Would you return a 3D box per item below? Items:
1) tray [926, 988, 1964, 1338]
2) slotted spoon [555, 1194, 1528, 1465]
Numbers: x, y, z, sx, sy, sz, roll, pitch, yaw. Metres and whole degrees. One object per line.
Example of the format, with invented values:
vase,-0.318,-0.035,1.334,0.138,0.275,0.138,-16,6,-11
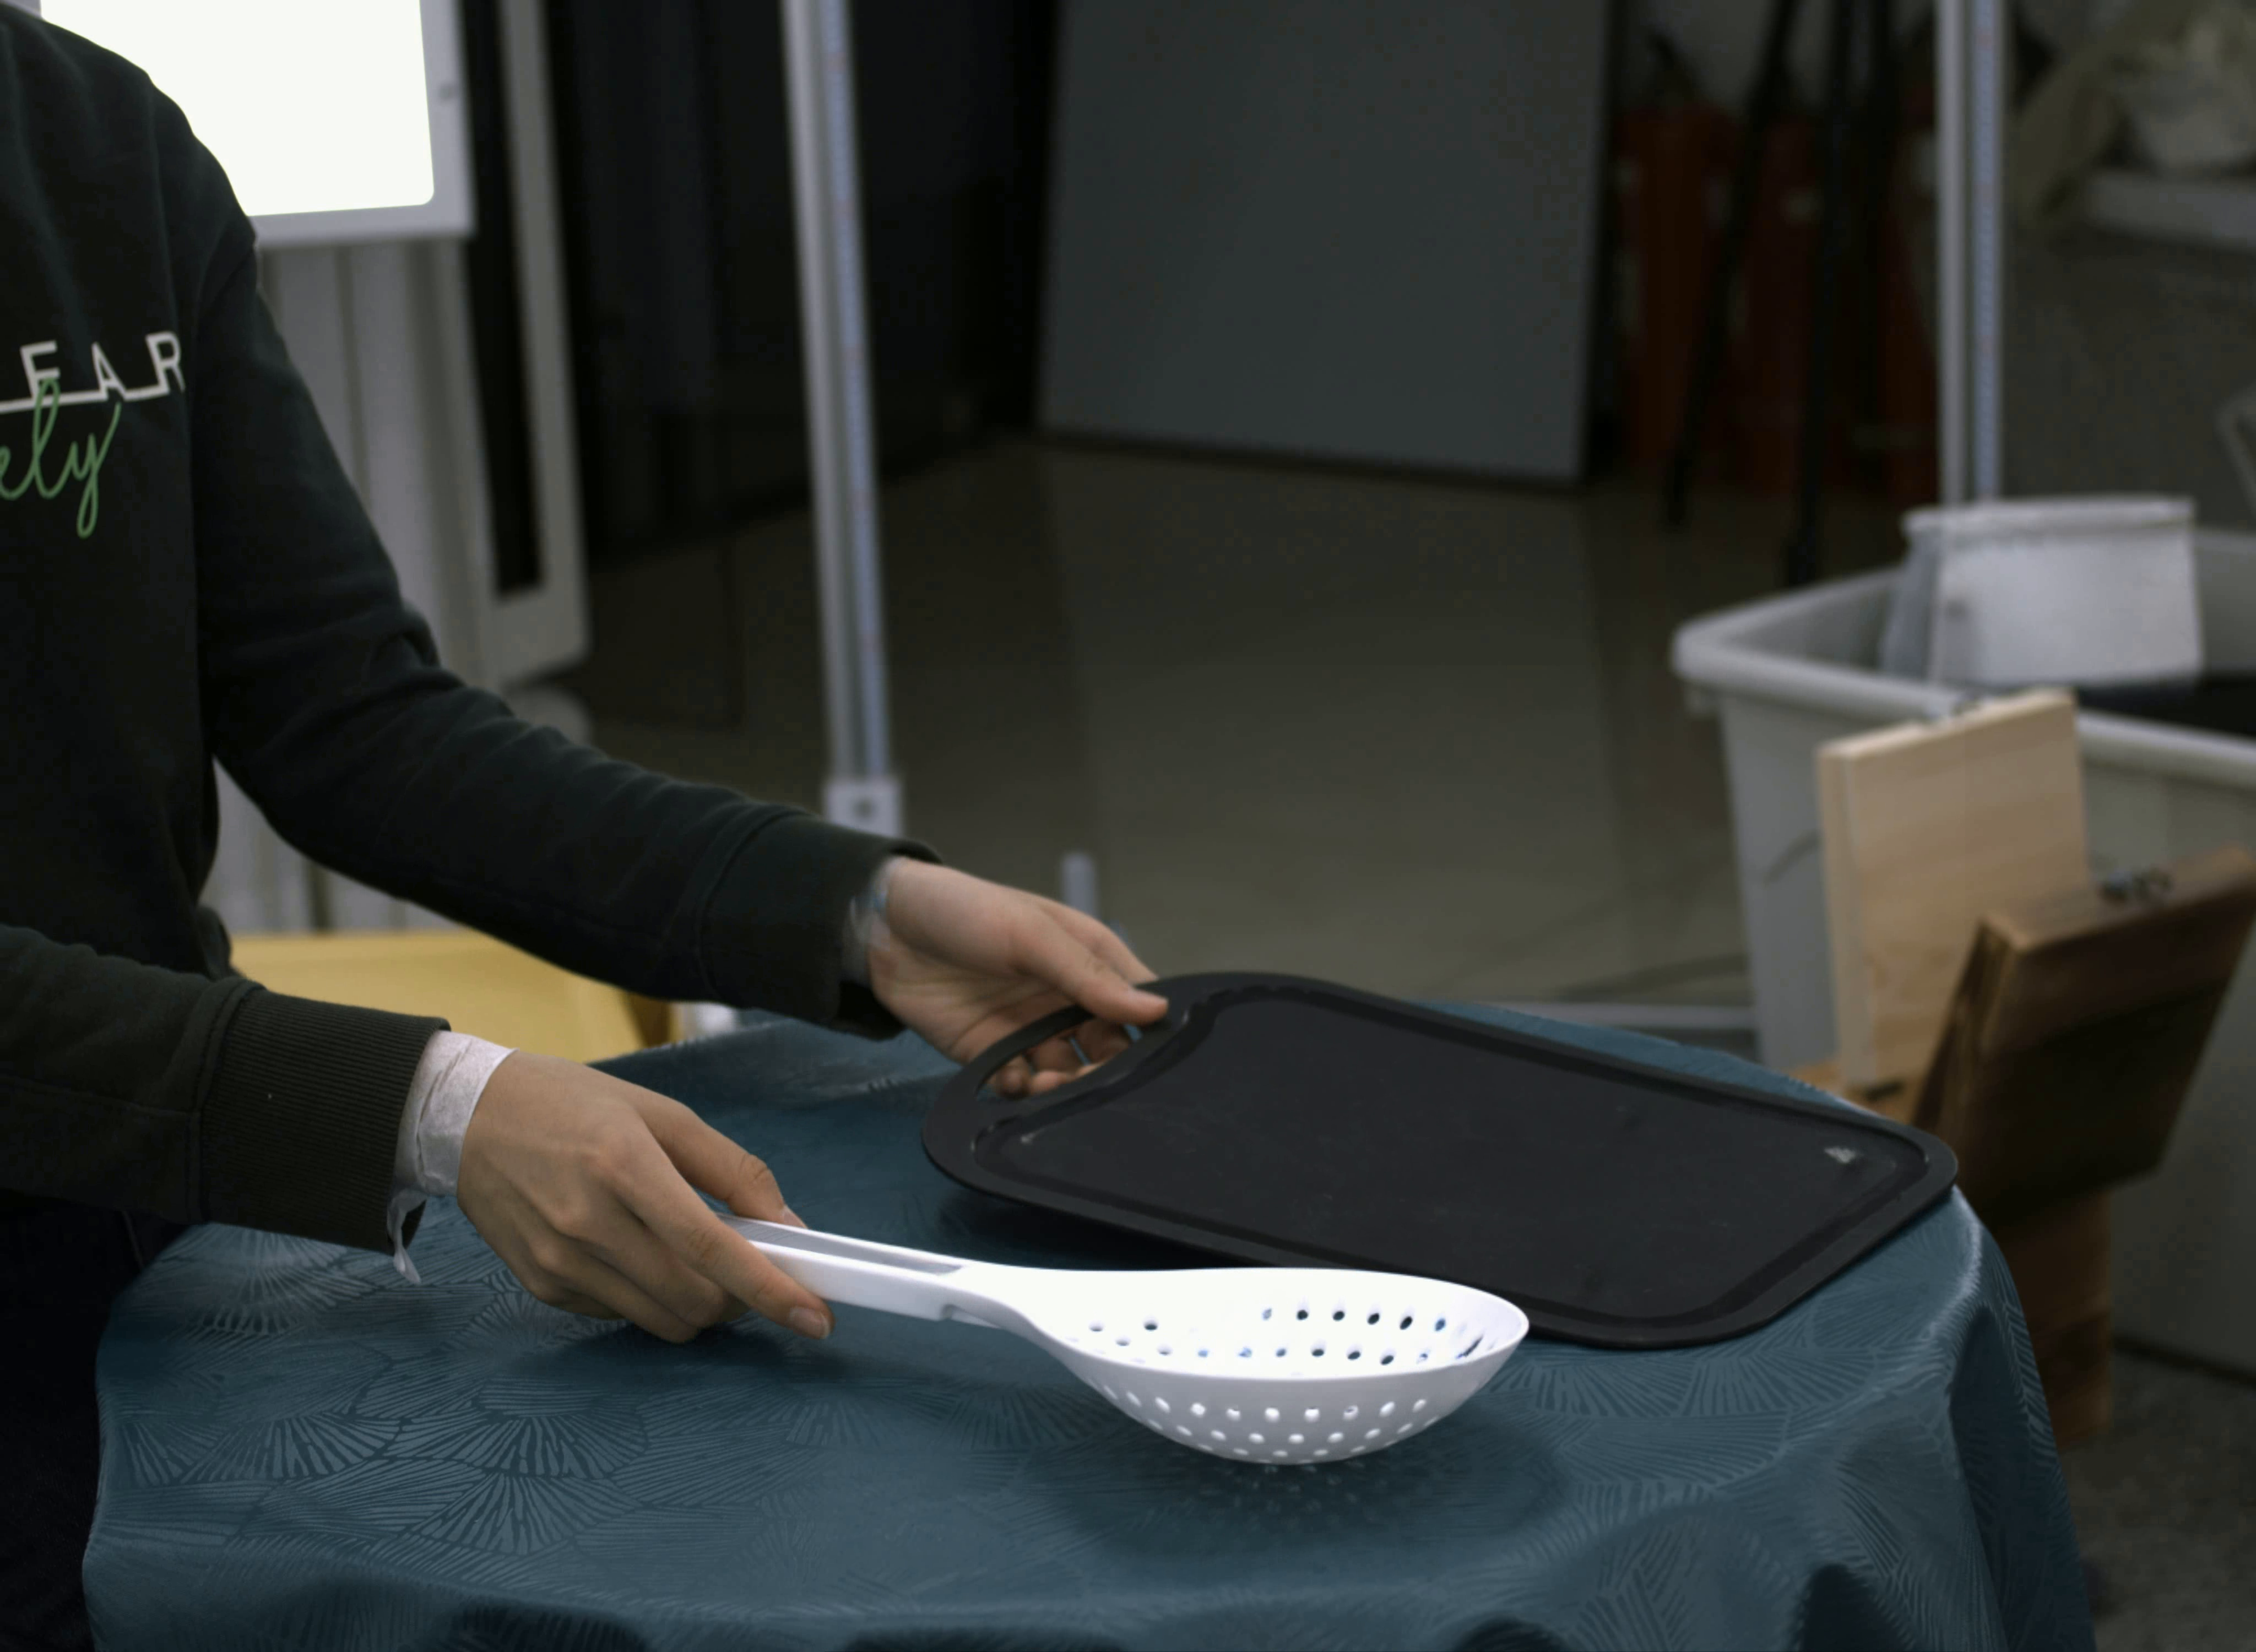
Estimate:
tray,0.094,0.103,1.742,0.327,0.010,0.207,12,22,33
slotted spoon,-0.038,0.138,1.587,0.352,0.046,0.133,12,13,38
